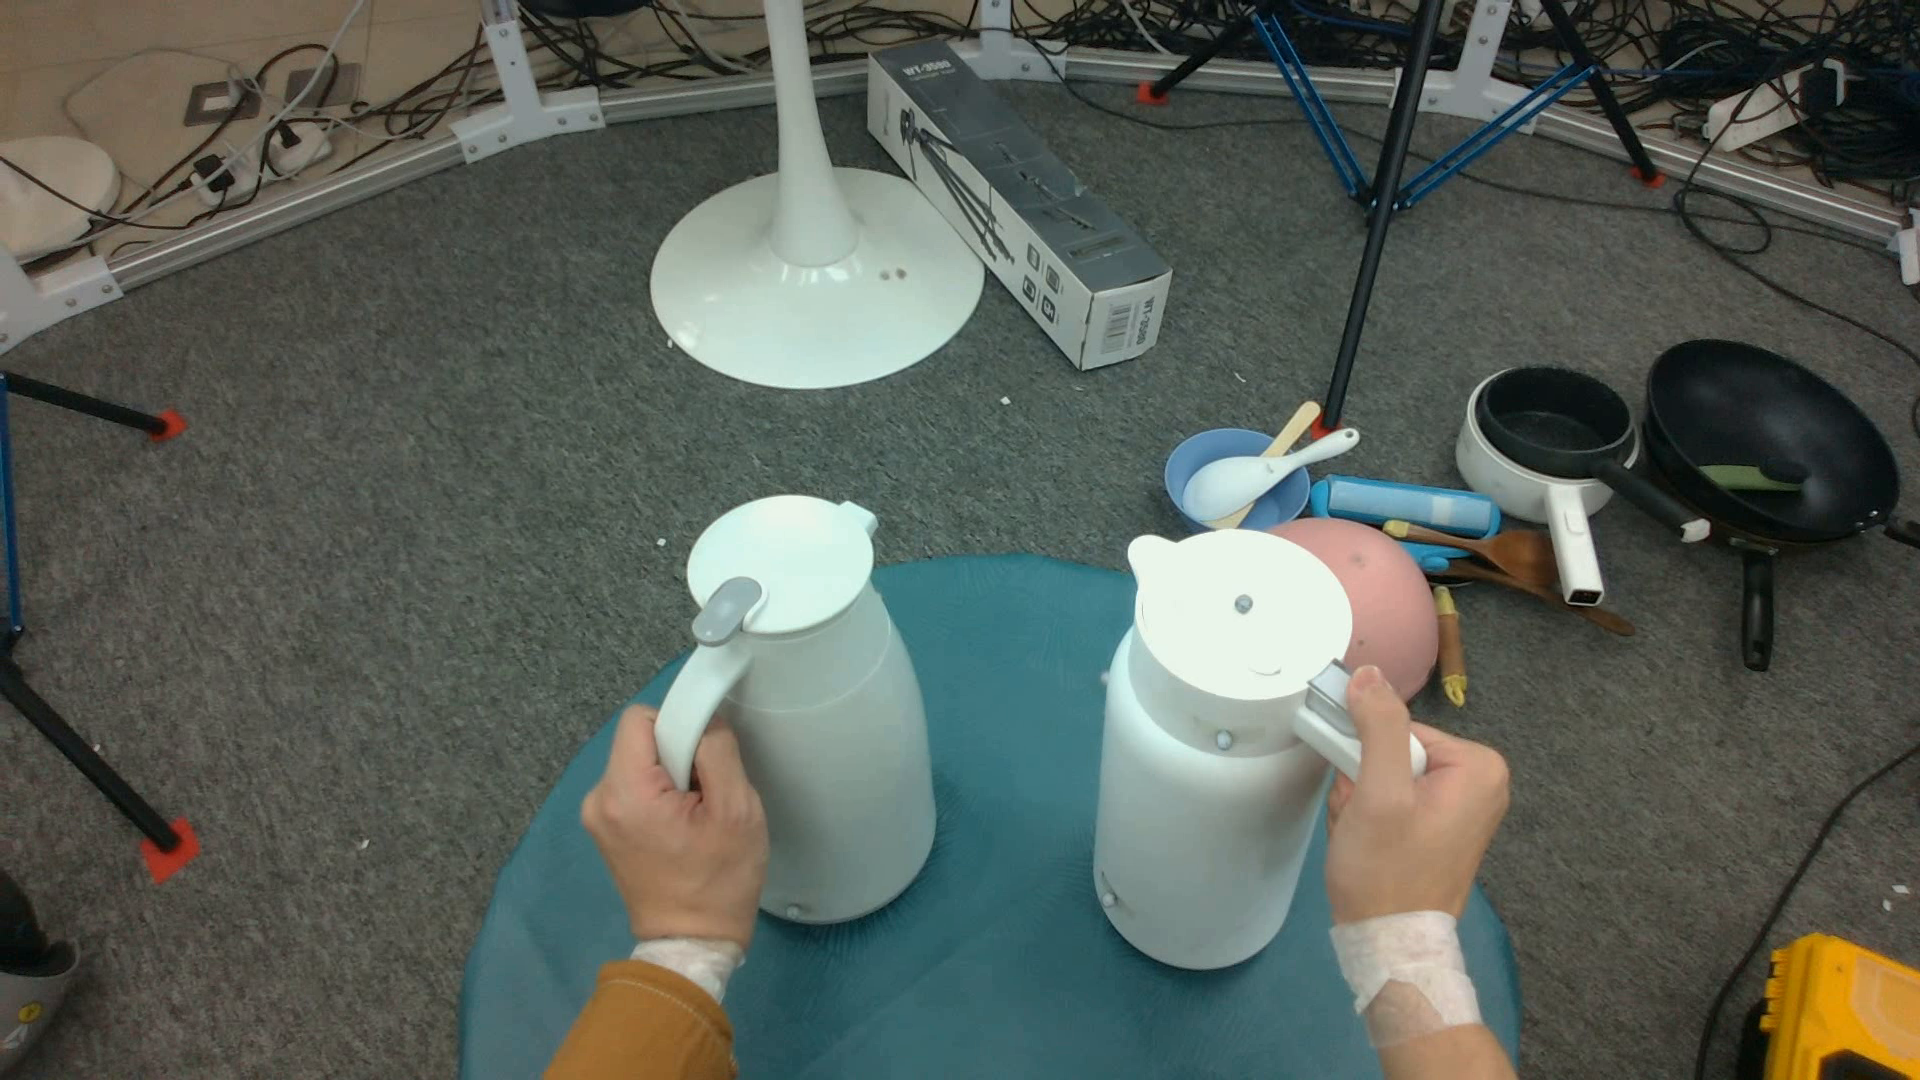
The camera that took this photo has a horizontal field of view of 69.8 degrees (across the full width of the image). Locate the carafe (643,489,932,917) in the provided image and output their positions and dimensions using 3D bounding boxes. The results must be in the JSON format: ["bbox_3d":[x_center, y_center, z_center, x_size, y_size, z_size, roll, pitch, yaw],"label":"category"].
[{"bbox_3d":[-0.097,0.099,0.745,0.132,0.247,0.168,25,53,24],"label":"carafe"}]

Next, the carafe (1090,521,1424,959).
[{"bbox_3d":[0.144,0.122,0.720,0.124,0.267,0.173,-34,56,-27],"label":"carafe"}]
